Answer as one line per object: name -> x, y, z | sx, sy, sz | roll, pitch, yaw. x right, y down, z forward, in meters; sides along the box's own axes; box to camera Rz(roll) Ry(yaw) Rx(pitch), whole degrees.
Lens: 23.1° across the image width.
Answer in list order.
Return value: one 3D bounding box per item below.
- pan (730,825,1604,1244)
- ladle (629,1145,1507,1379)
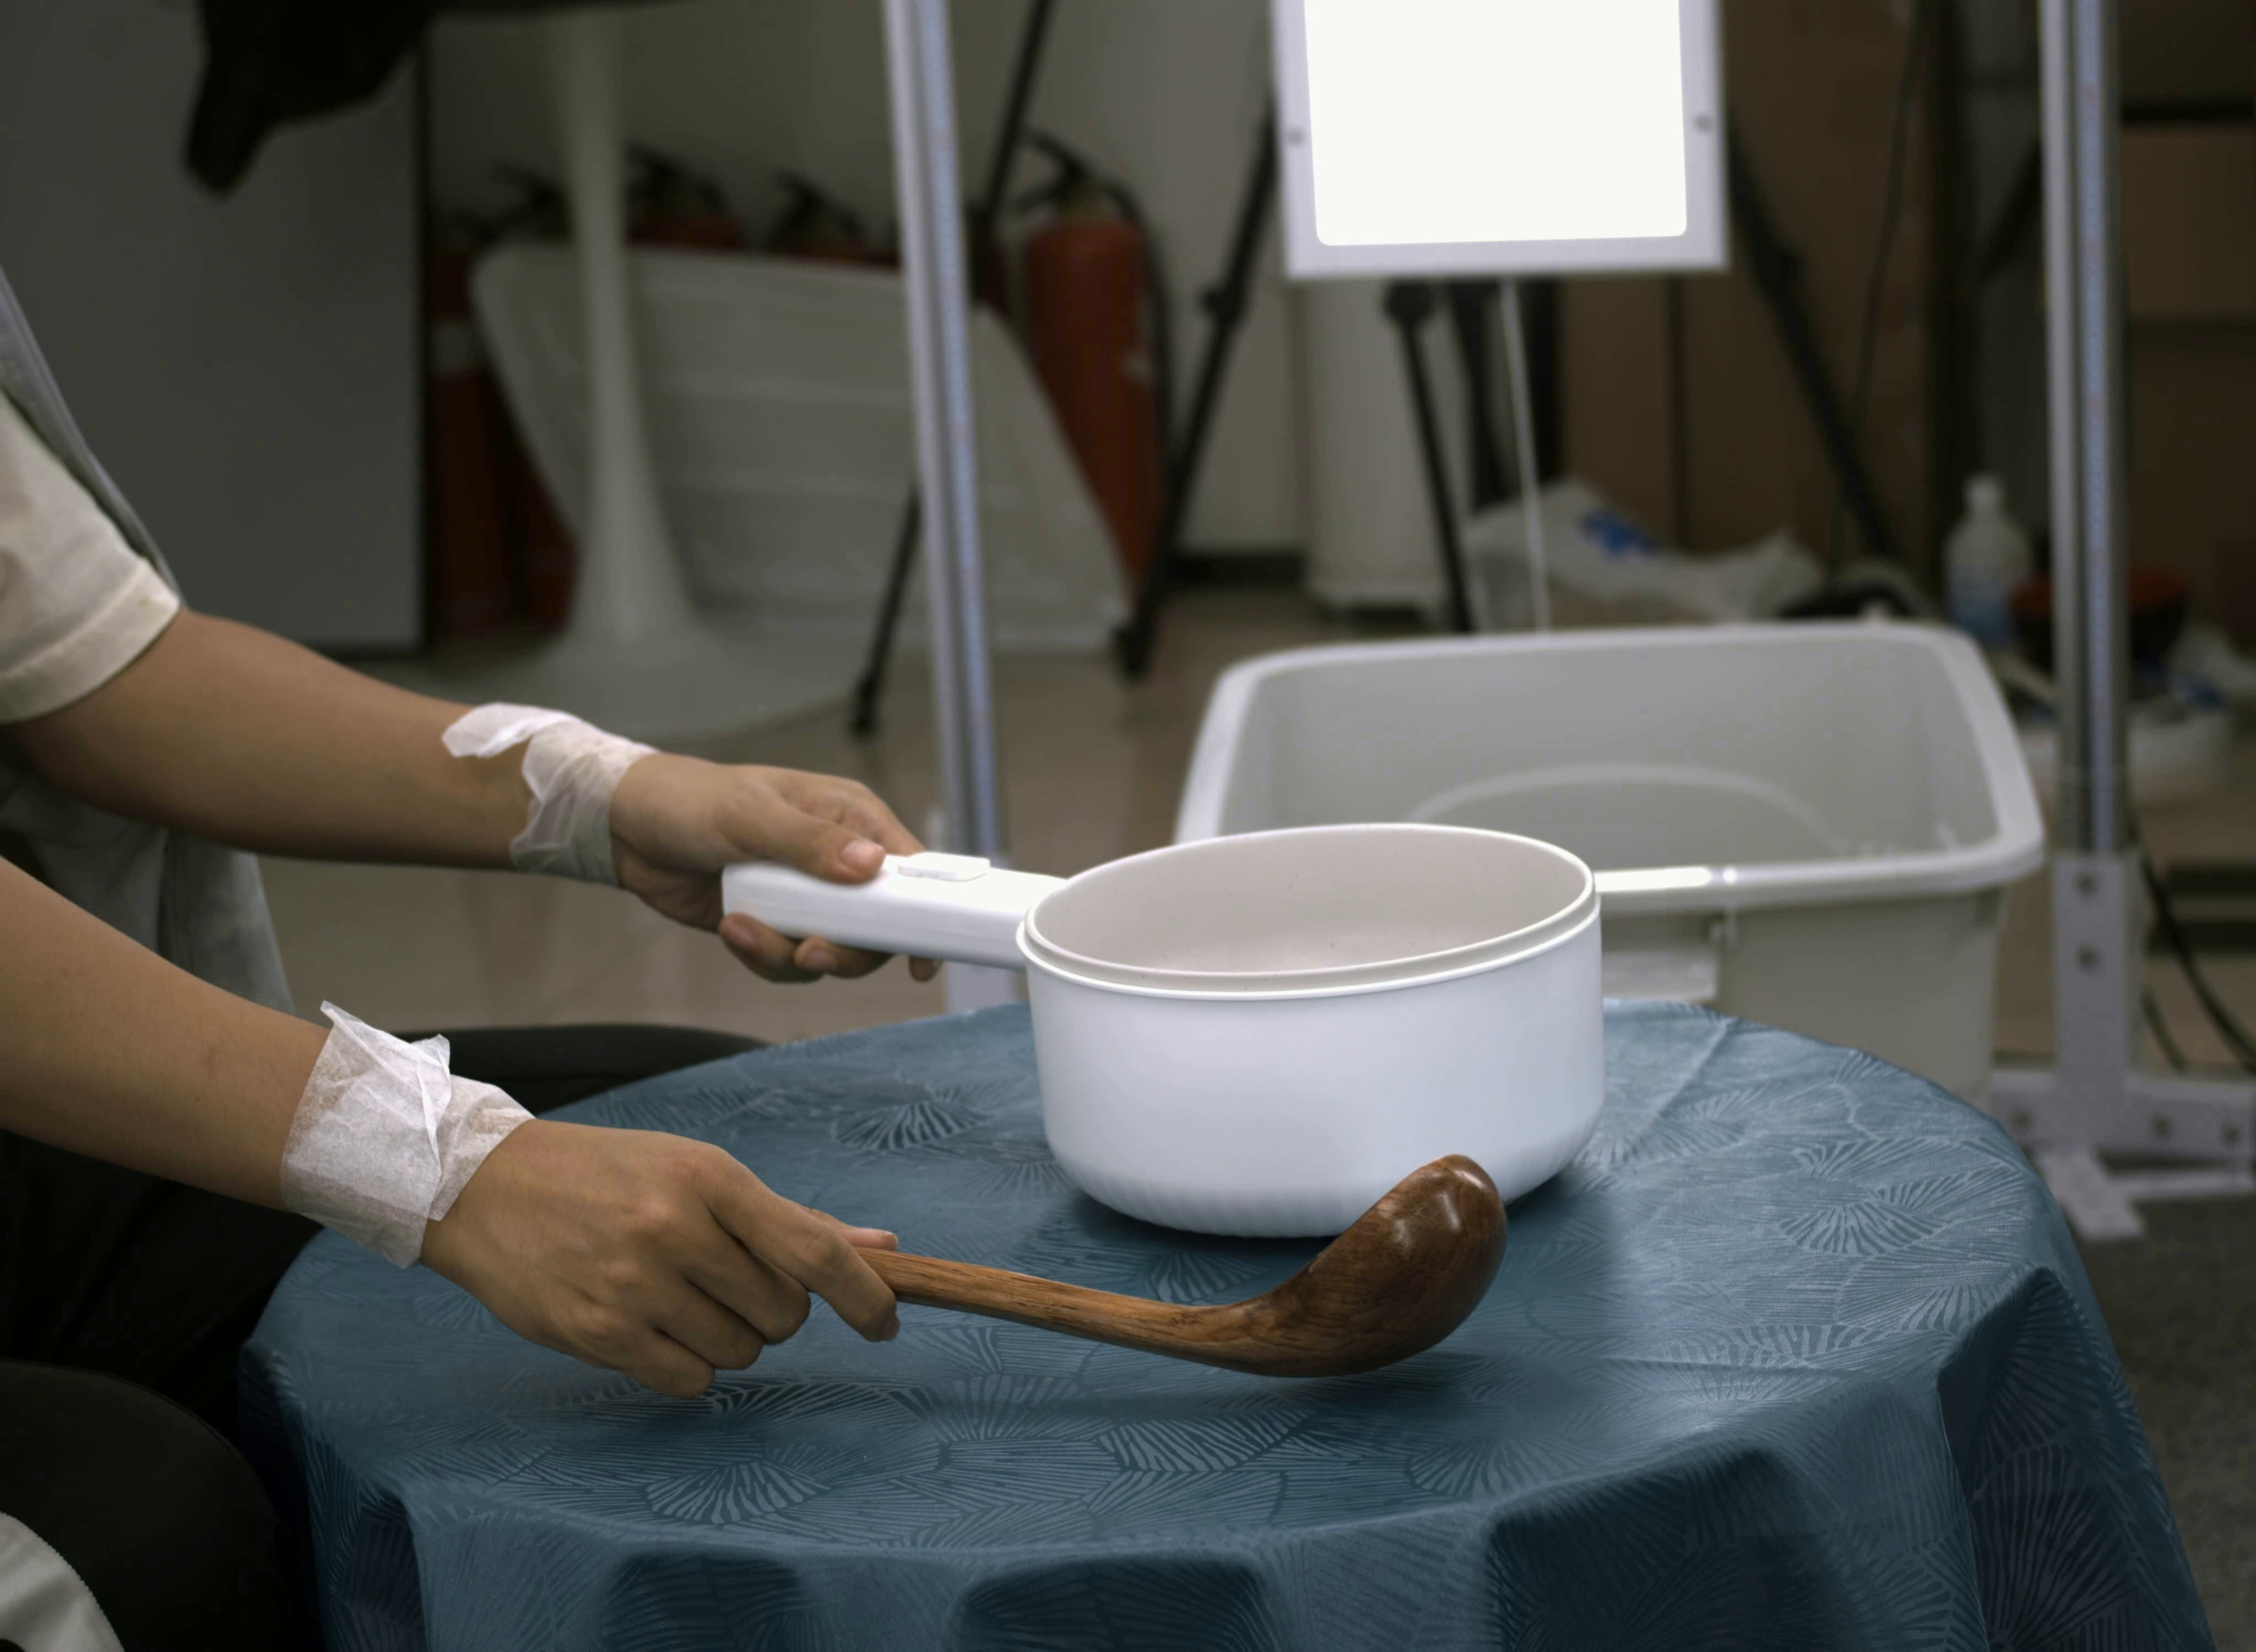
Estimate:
pan -> 0.005, 0.068, 1.932 | 0.362, 0.102, 0.196 | 5, 18, 39
ladle -> -0.019, 0.123, 1.706 | 0.277, 0.081, 0.076 | 6, 61, 20
